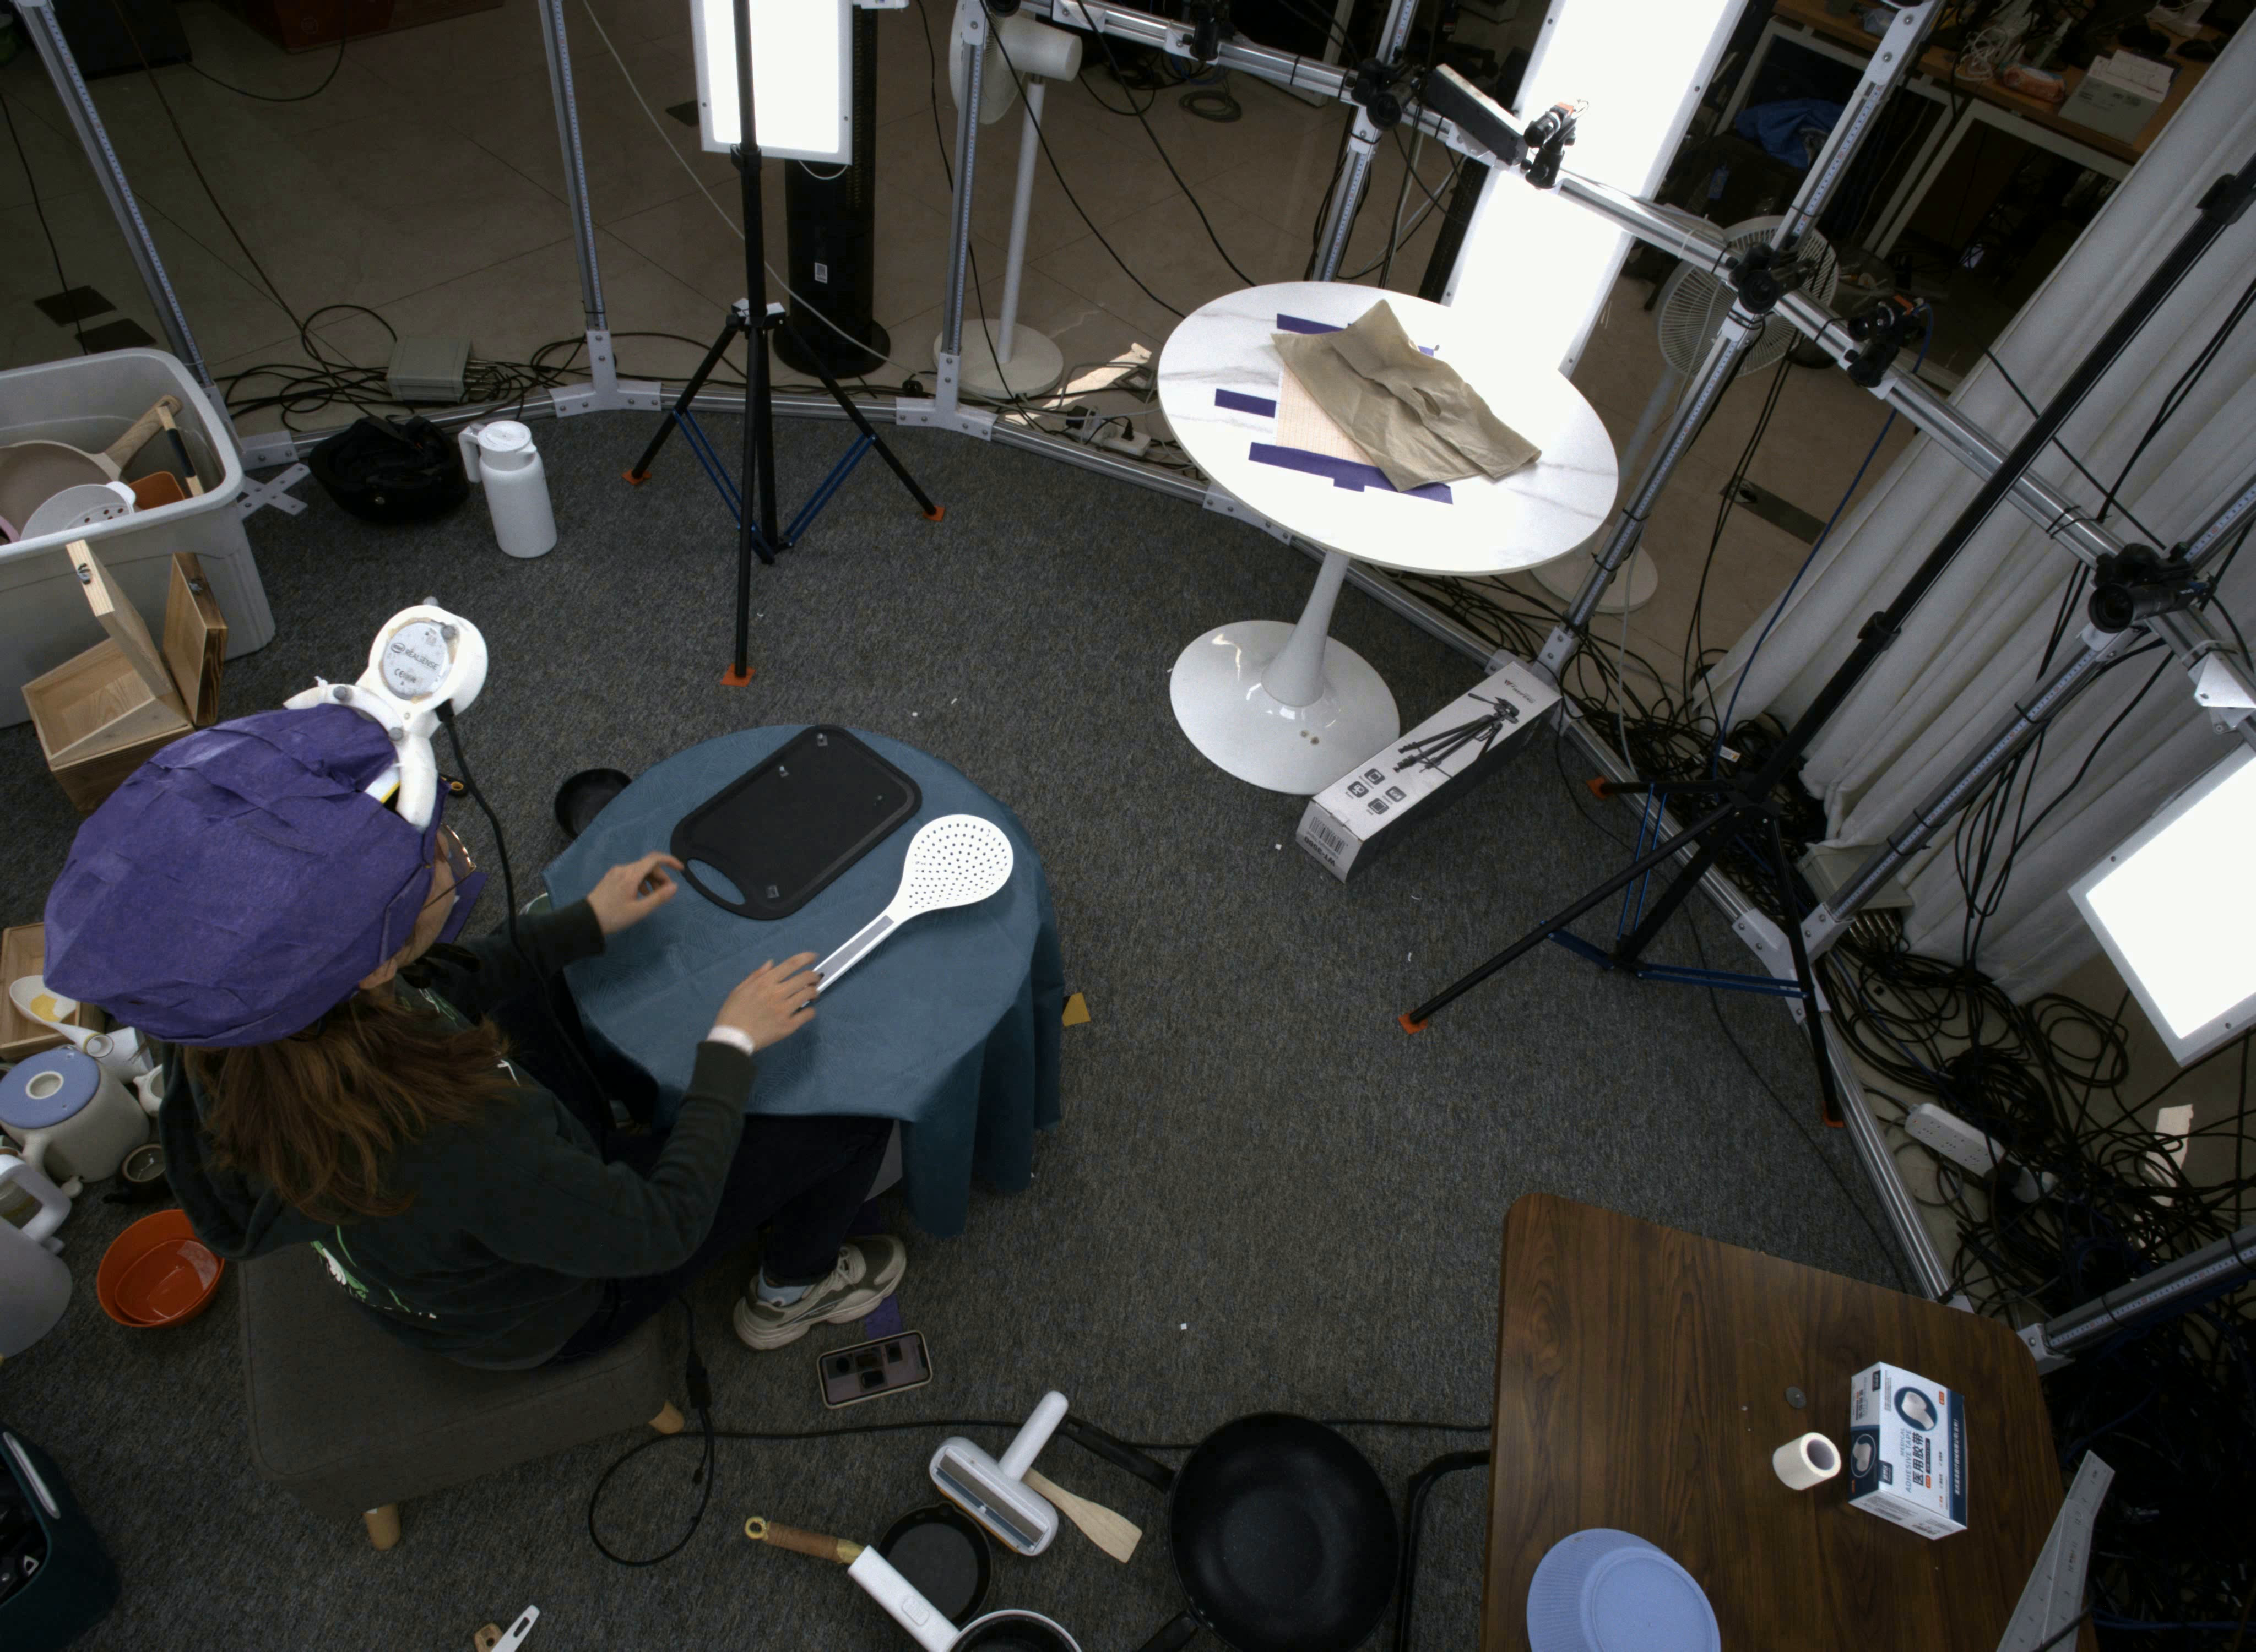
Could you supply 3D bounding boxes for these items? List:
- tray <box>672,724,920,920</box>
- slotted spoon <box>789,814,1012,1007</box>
[{"bbox_3d":[-0.444,-0.010,1.727,0.207,0.010,0.325,36,54,13],"label":"tray"},{"bbox_3d":[-0.290,0.107,1.654,0.133,0.047,0.350,38,55,16],"label":"slotted spoon"}]
